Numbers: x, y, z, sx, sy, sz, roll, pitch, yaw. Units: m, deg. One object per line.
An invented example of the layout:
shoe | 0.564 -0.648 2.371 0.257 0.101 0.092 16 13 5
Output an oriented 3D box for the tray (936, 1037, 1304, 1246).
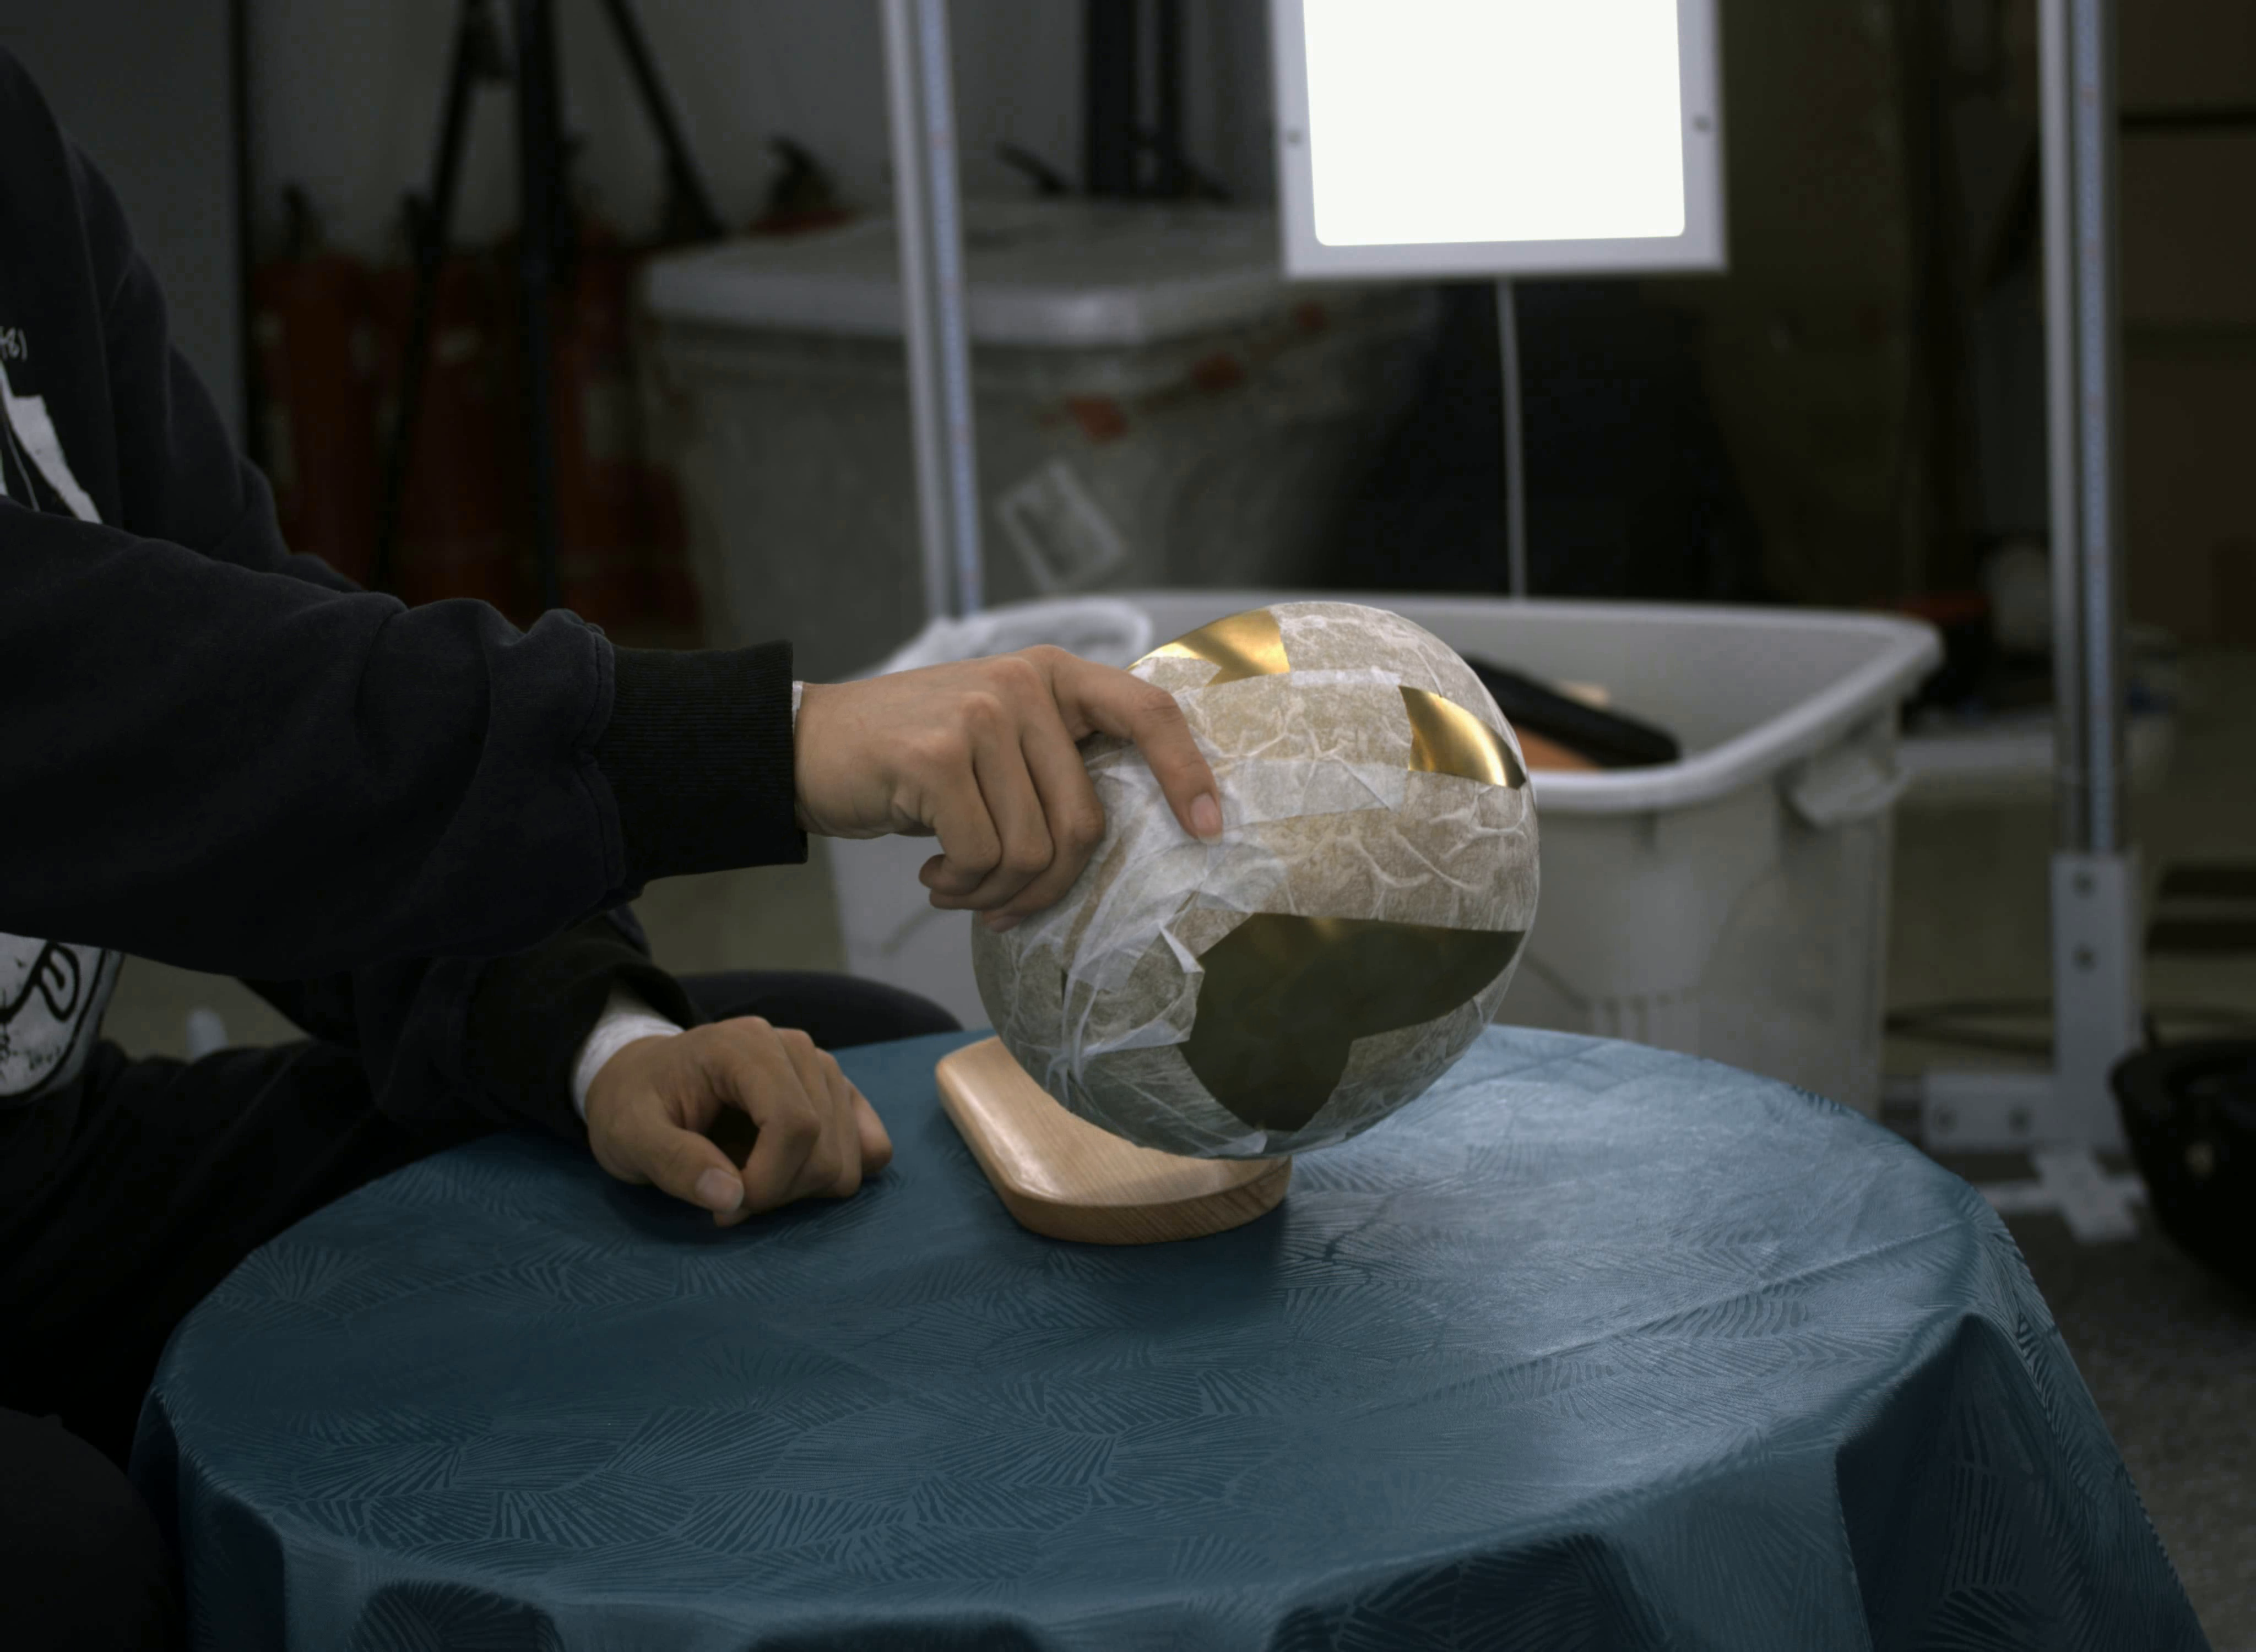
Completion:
tray | -0.005 0.108 1.943 0.100 0.020 0.233 -9 16 -11

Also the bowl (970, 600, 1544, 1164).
bowl | 0.055 0.038 1.808 0.210 0.216 0.095 -10 36 -22
